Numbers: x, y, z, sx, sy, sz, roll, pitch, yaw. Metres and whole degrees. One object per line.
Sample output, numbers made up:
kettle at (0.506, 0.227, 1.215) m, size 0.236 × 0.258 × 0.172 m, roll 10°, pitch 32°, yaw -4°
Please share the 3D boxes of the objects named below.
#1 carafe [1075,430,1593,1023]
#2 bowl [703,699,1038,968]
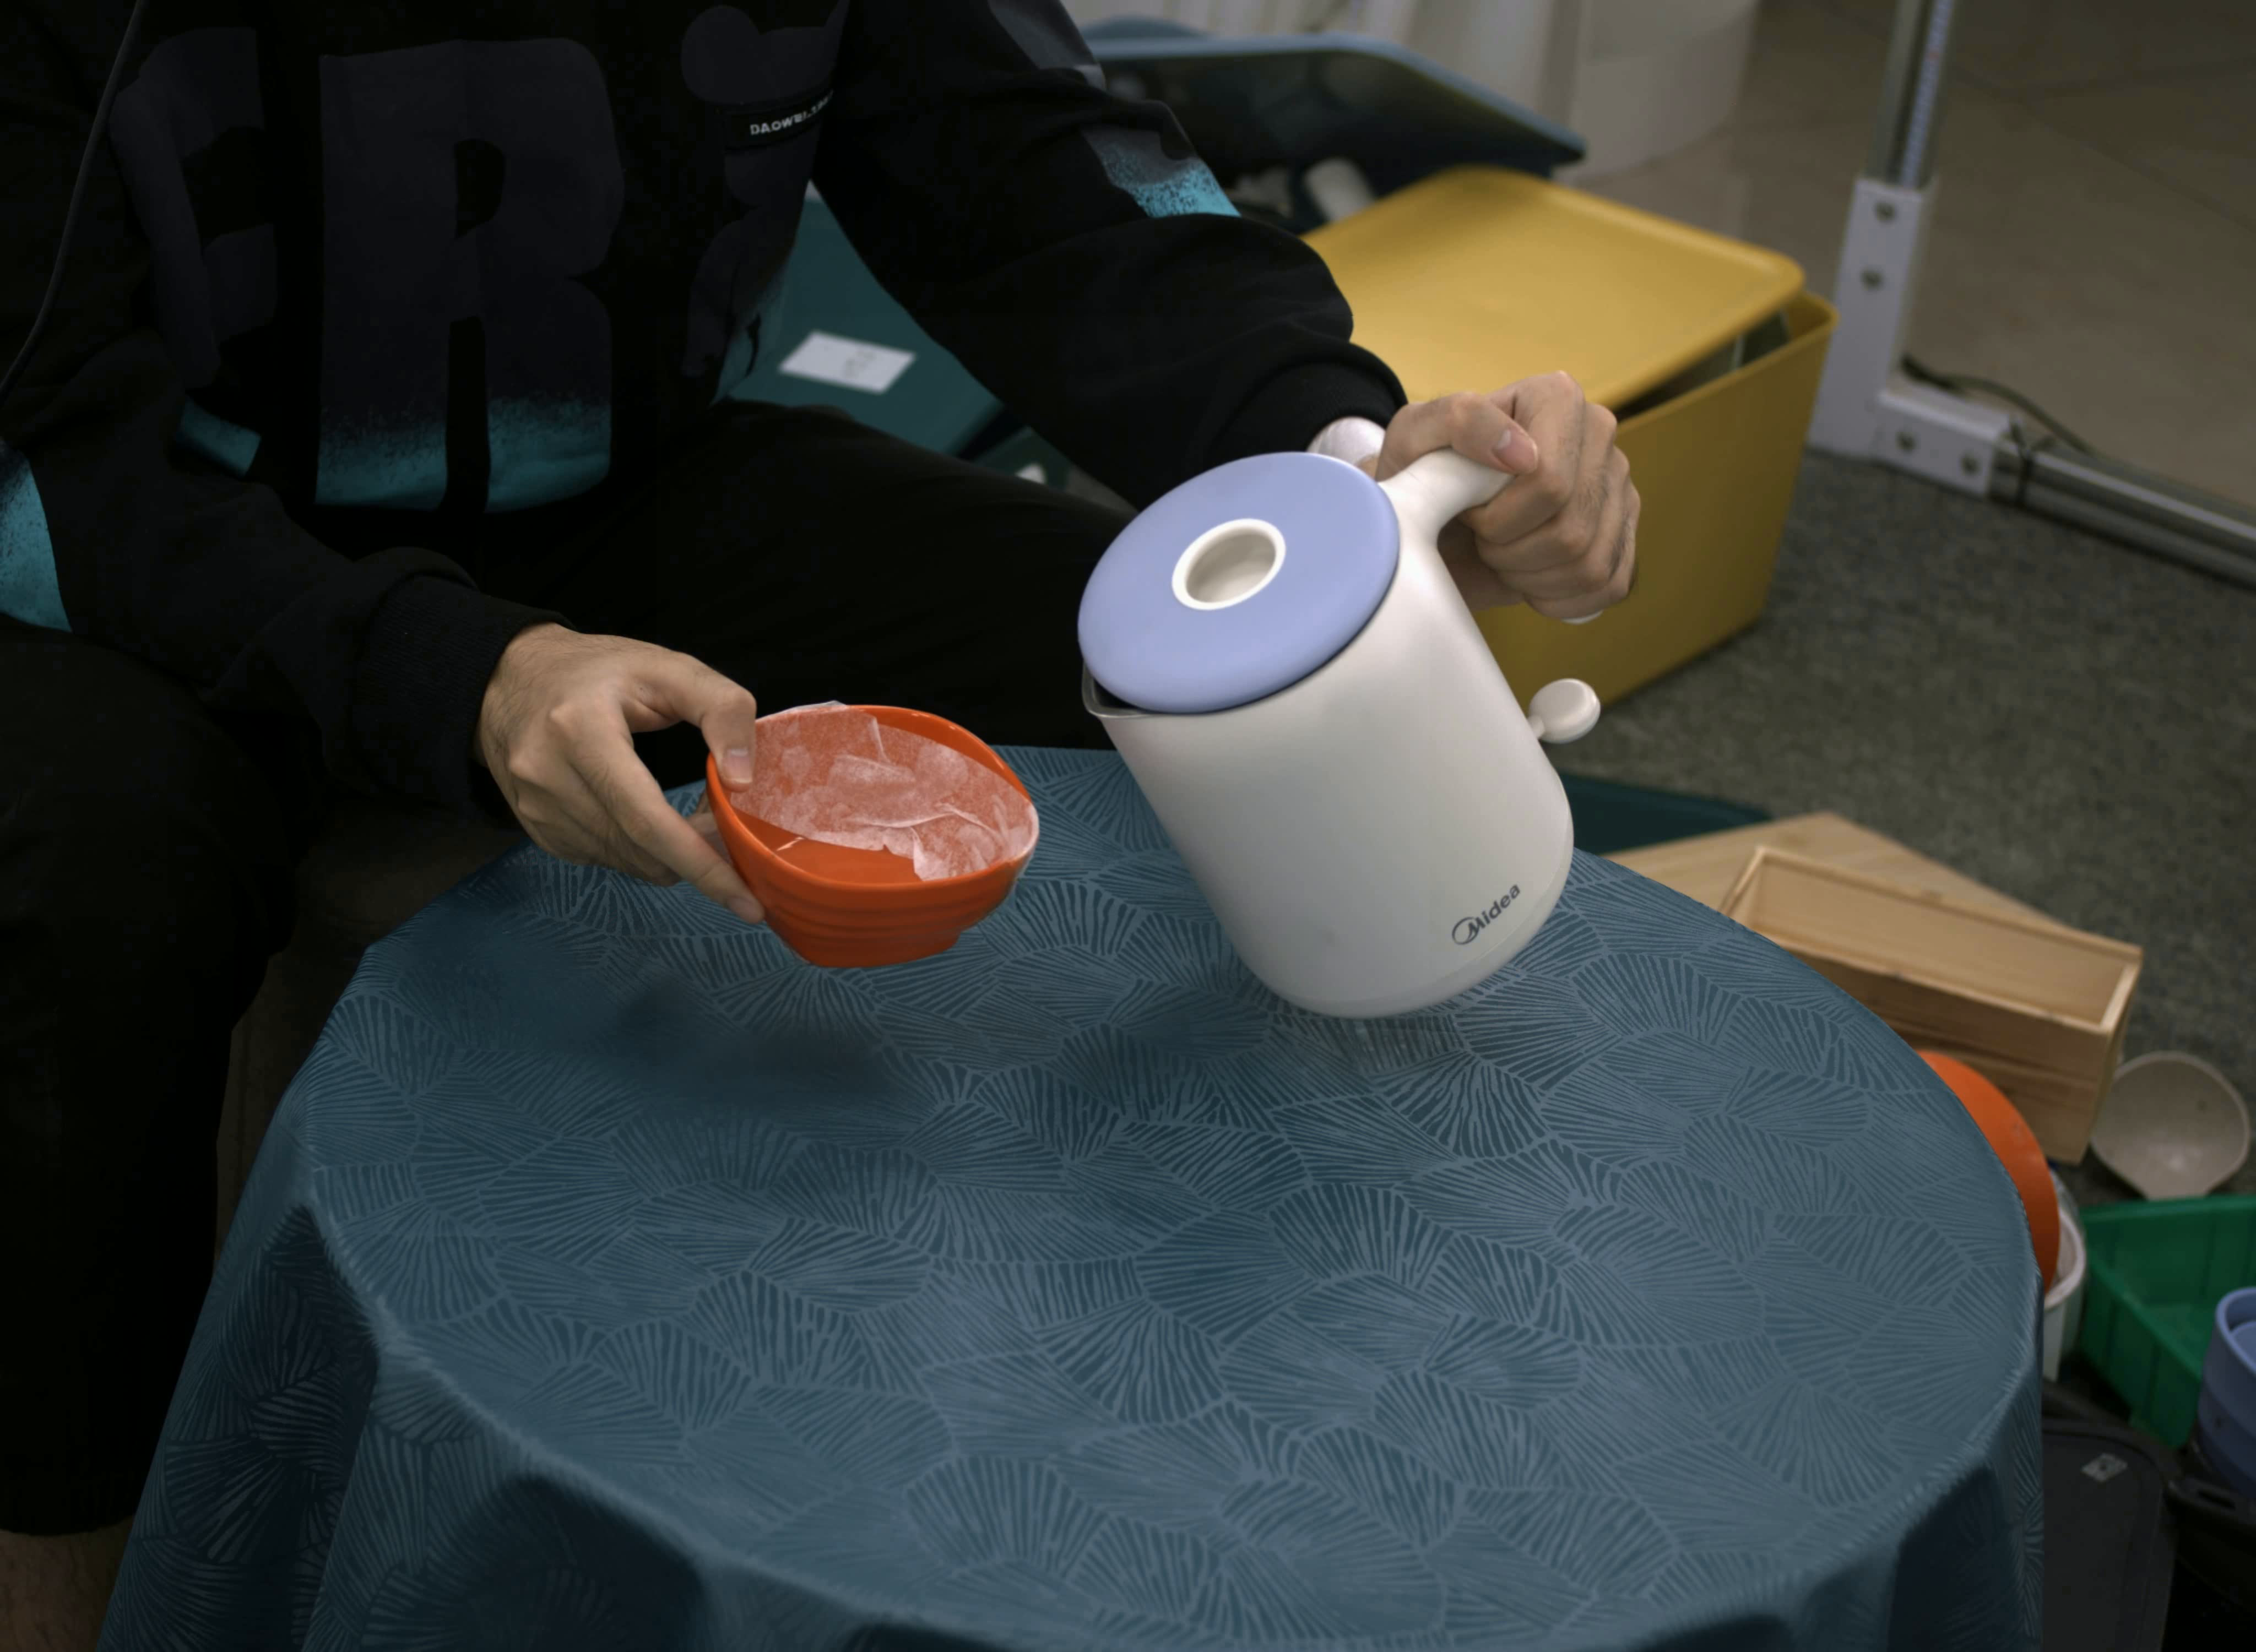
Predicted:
carafe at (0.086, -0.046, 1.871) m, size 0.191 × 0.181 × 0.133 m, roll -39°, pitch 42°, yaw -14°
bowl at (-0.092, 0.008, 1.835) m, size 0.118 × 0.051 × 0.120 m, roll 7°, pitch 34°, yaw -5°
